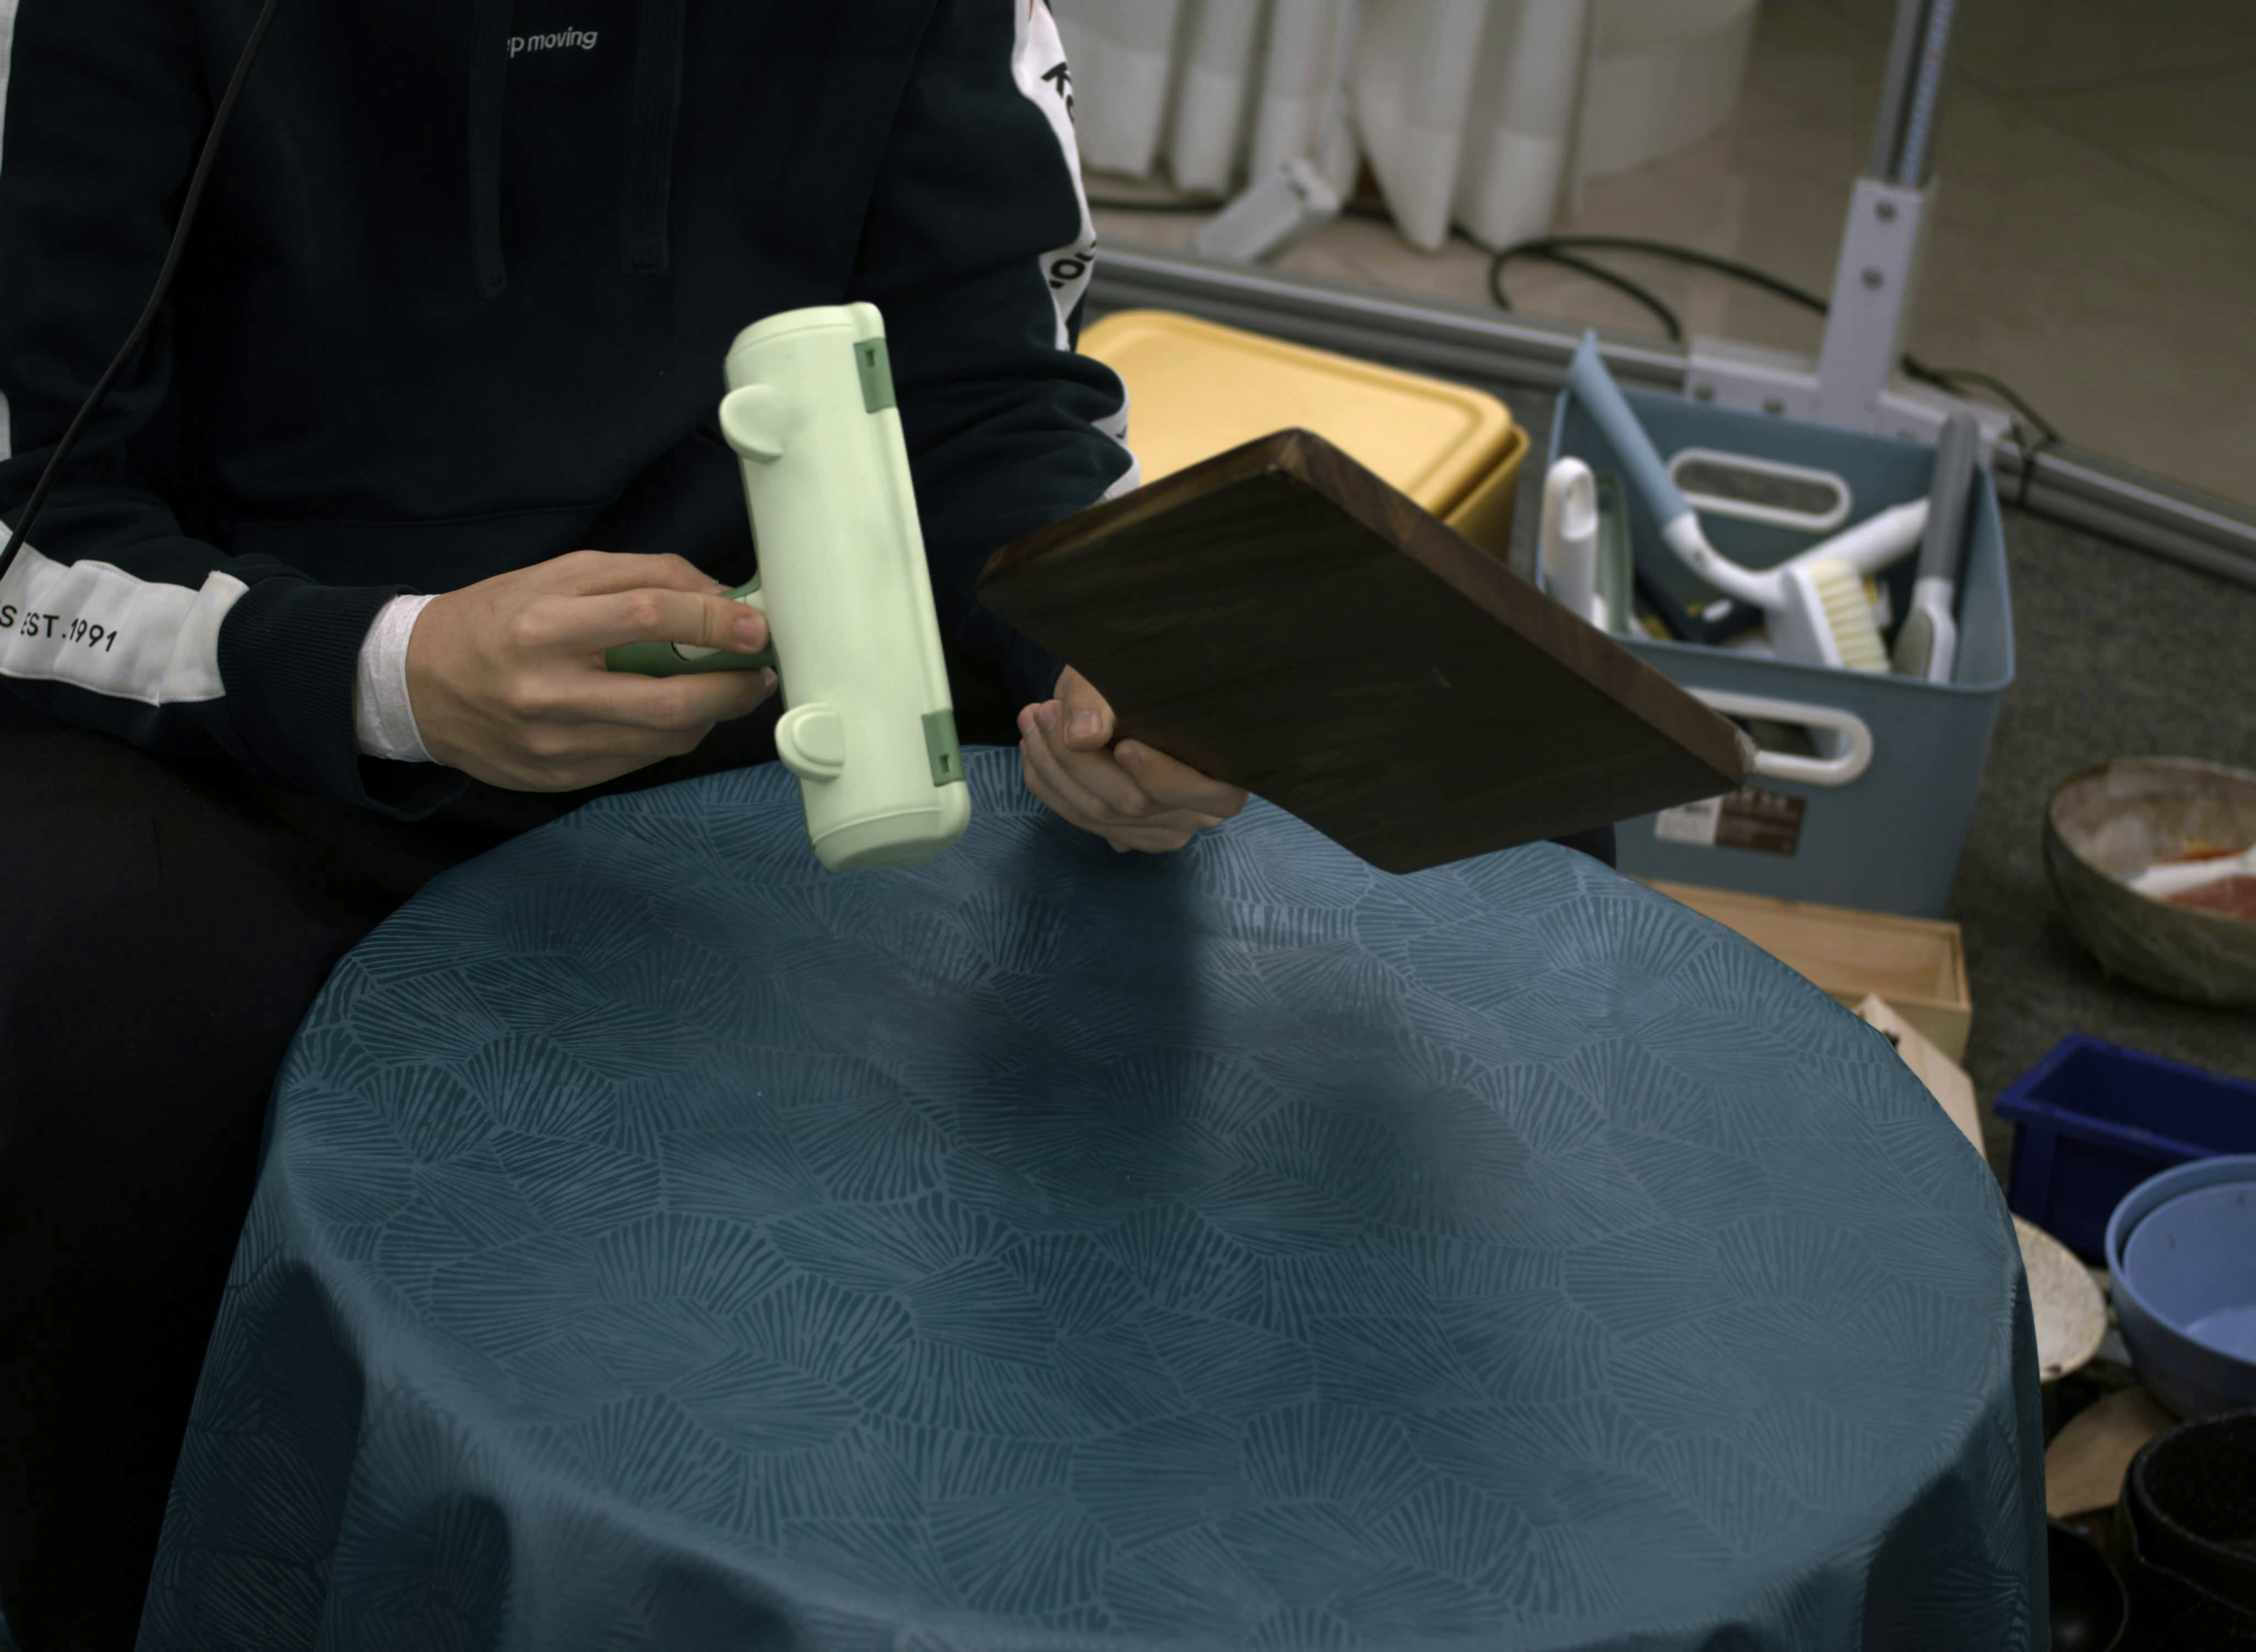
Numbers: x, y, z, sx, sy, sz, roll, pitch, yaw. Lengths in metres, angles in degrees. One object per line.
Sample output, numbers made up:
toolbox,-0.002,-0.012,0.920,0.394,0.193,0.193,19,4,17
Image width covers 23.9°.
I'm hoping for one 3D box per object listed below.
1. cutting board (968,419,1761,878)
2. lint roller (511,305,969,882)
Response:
cutting board,0.054,-0.048,1.849,0.200,0.023,0.353,34,-21,-17
lint roller,-0.151,-0.067,1.861,0.183,0.200,0.081,-16,-15,21
